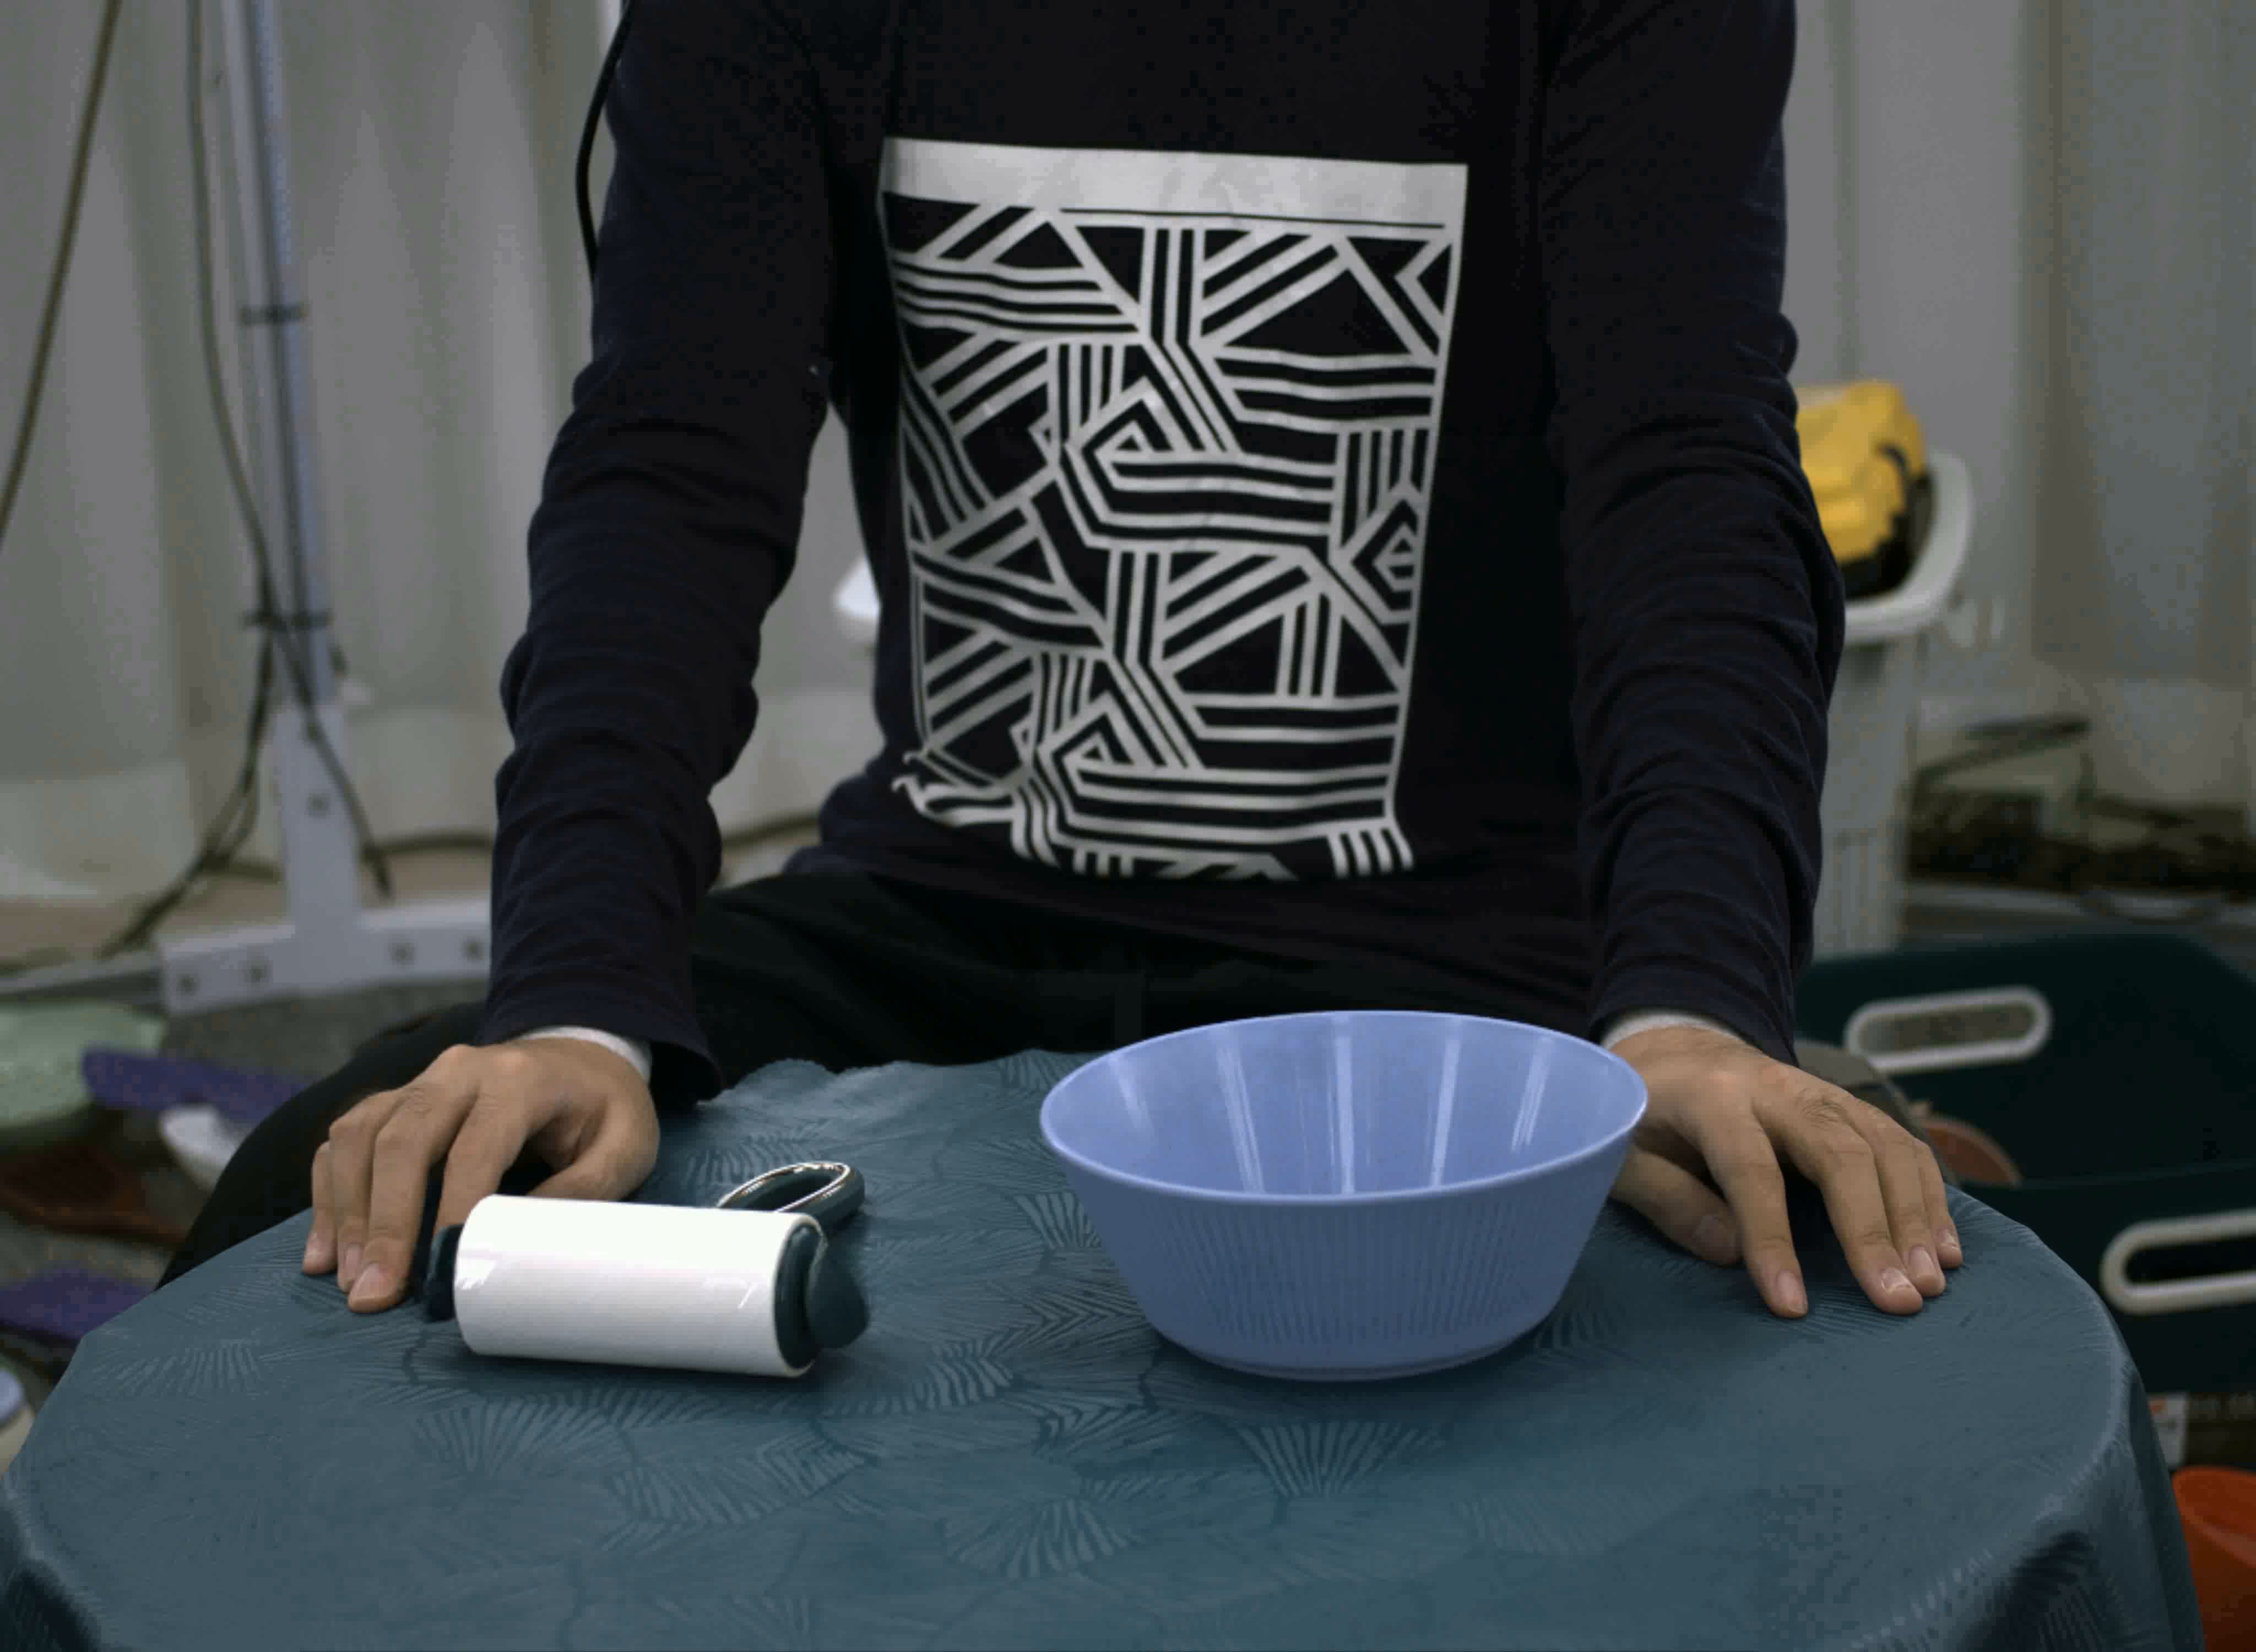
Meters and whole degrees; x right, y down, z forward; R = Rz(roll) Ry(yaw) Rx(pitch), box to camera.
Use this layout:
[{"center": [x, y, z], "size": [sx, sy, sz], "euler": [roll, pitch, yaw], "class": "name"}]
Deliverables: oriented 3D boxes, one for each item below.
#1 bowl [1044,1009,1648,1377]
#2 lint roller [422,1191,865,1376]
[{"center": [0.064, 0.109, 1.586], "size": [0.175, 0.070, 0.177], "euler": [-3, 14, 0], "class": "bowl"}, {"center": [-0.121, 0.120, 1.645], "size": [0.134, 0.048, 0.180], "euler": [2, 12, 17], "class": "lint roller"}]
